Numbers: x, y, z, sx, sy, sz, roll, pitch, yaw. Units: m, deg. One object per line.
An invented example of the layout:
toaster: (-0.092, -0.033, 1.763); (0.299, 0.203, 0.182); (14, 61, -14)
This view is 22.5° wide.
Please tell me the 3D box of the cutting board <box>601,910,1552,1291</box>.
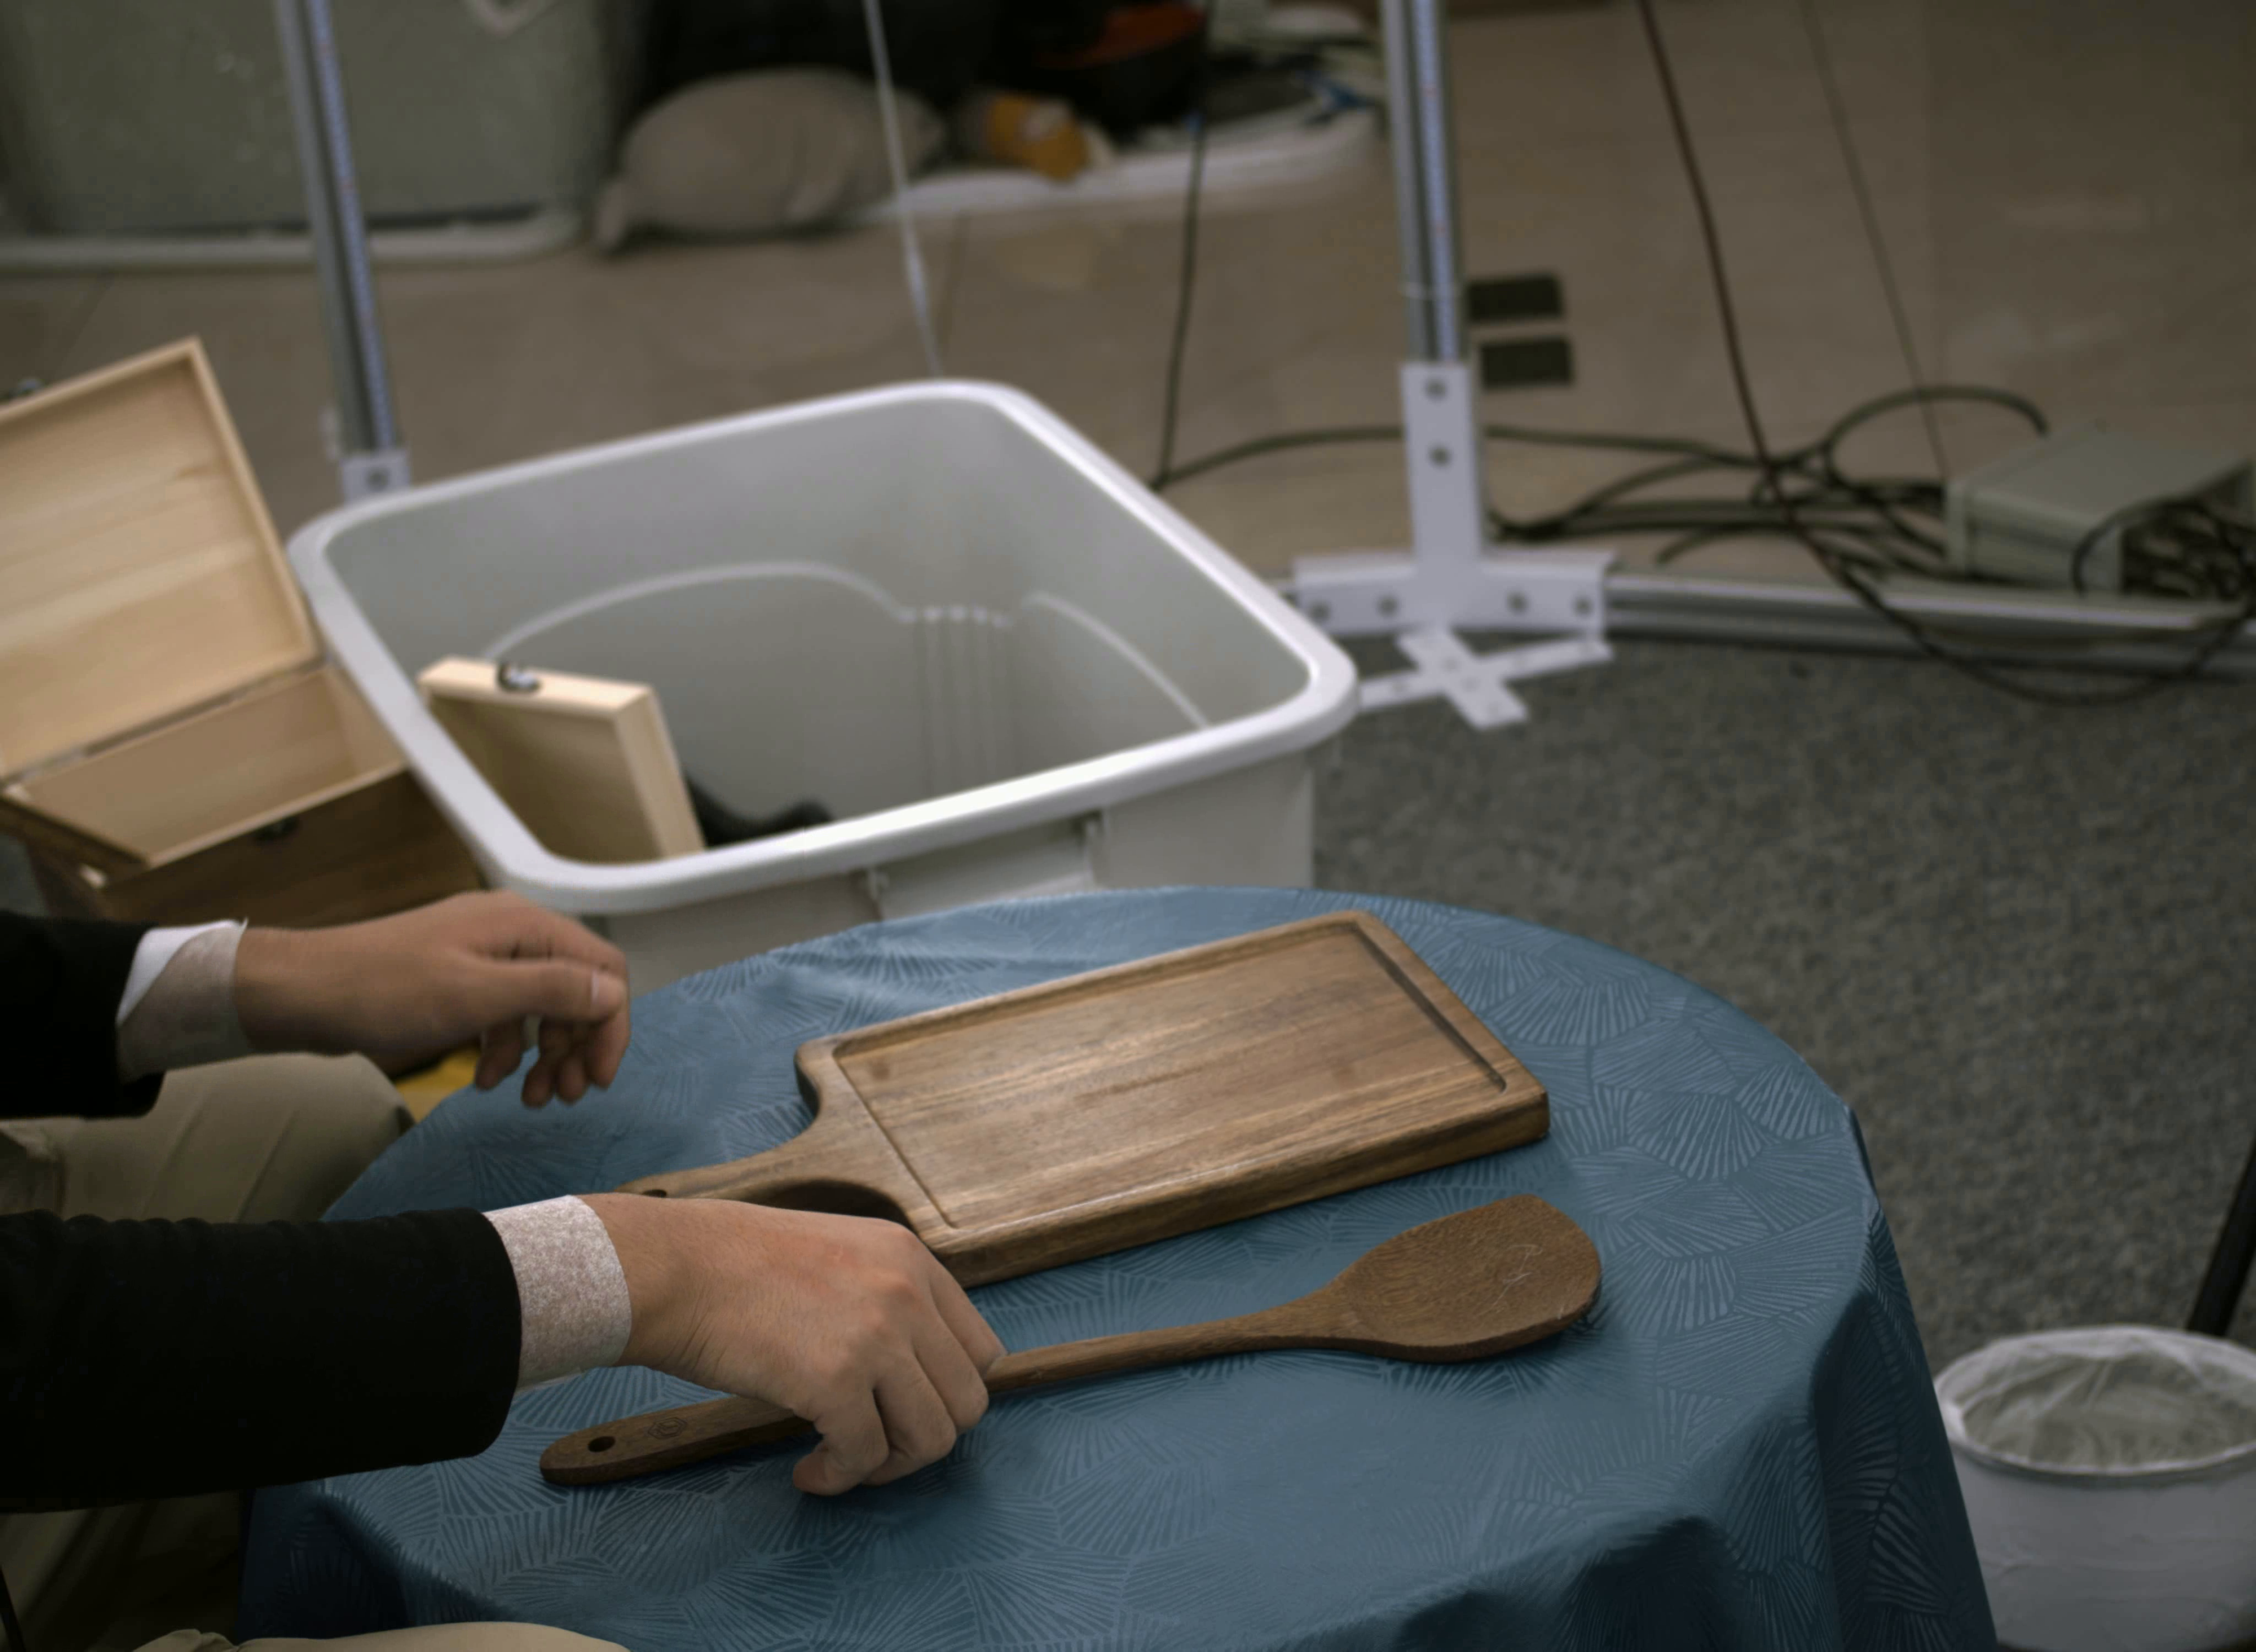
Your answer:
cutting board: (-0.033, 0.113, 2.187); (0.351, 0.023, 0.198); (-14, 26, -15)

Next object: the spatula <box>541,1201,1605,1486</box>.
spatula: (-0.020, 0.190, 2.024); (0.385, 0.016, 0.095); (-10, 25, -7)
